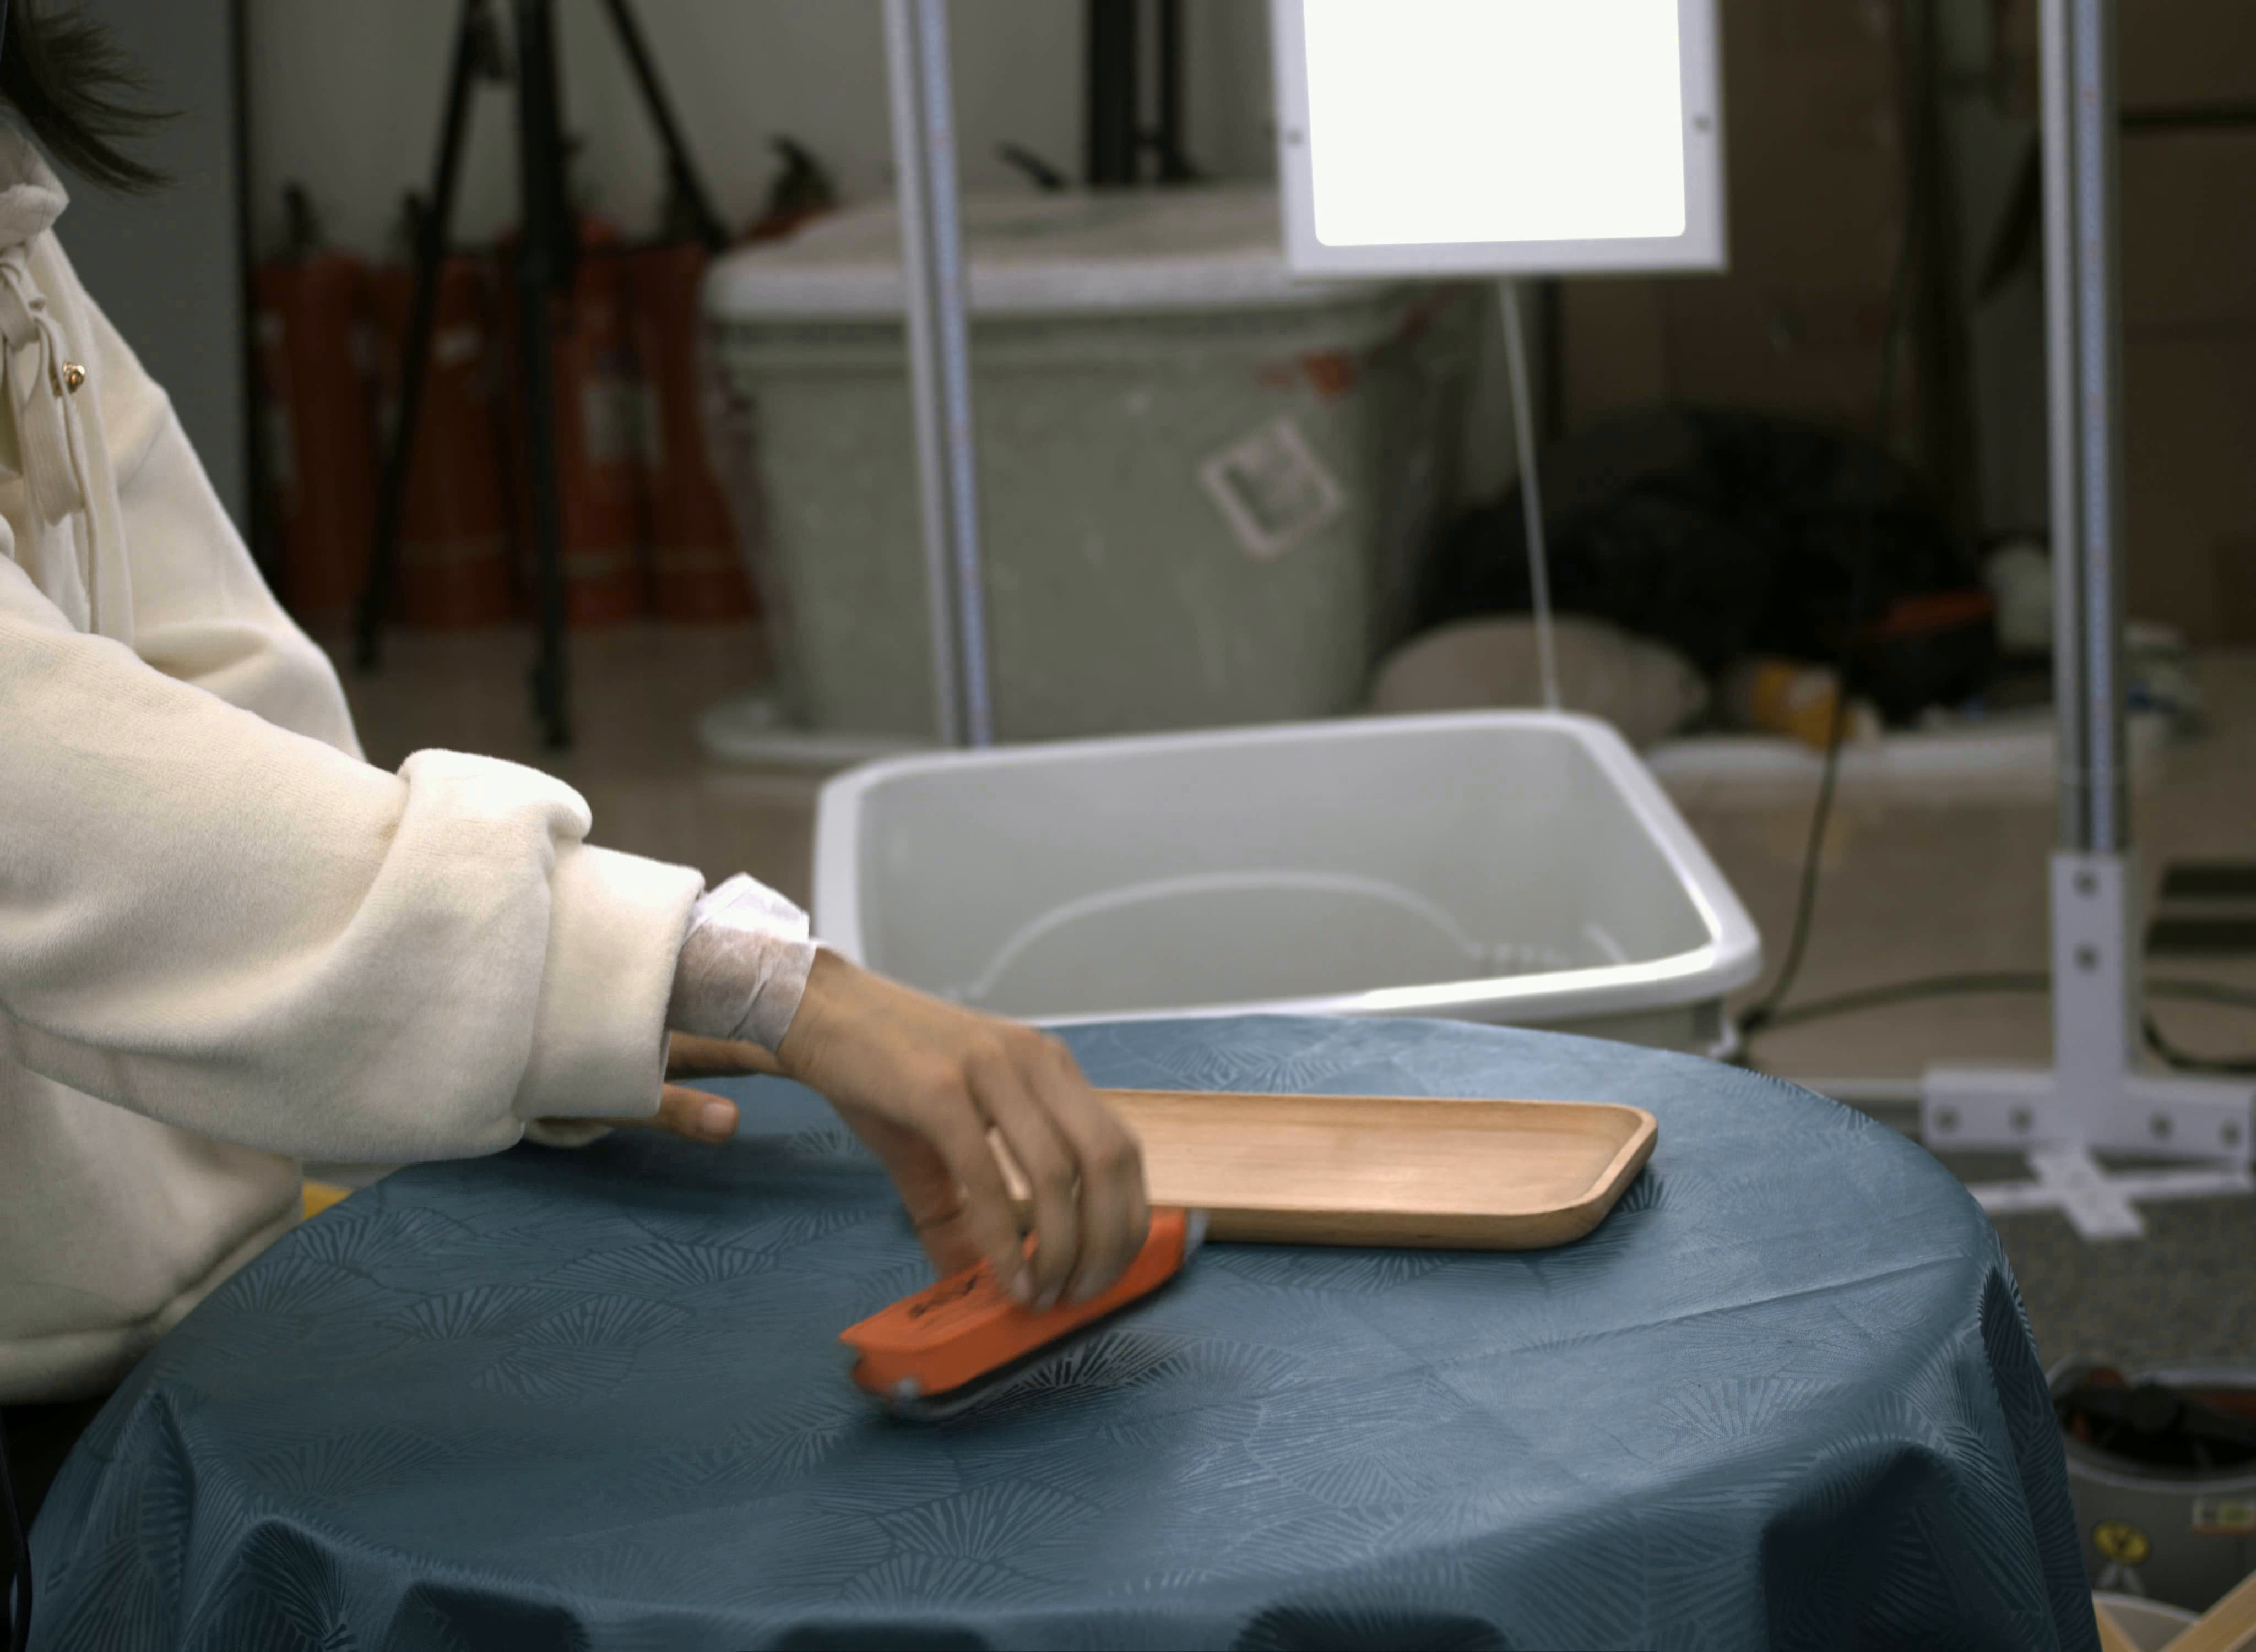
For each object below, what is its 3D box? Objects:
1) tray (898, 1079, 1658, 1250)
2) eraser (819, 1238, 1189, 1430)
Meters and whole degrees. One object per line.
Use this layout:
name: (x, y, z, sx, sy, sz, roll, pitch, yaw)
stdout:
tray: (0.051, 0.115, 1.887, 0.254, 0.023, 0.128, 0, 12, 23)
eraser: (-0.038, 0.156, 1.705, 0.105, 0.023, 0.060, -20, 13, -30)
